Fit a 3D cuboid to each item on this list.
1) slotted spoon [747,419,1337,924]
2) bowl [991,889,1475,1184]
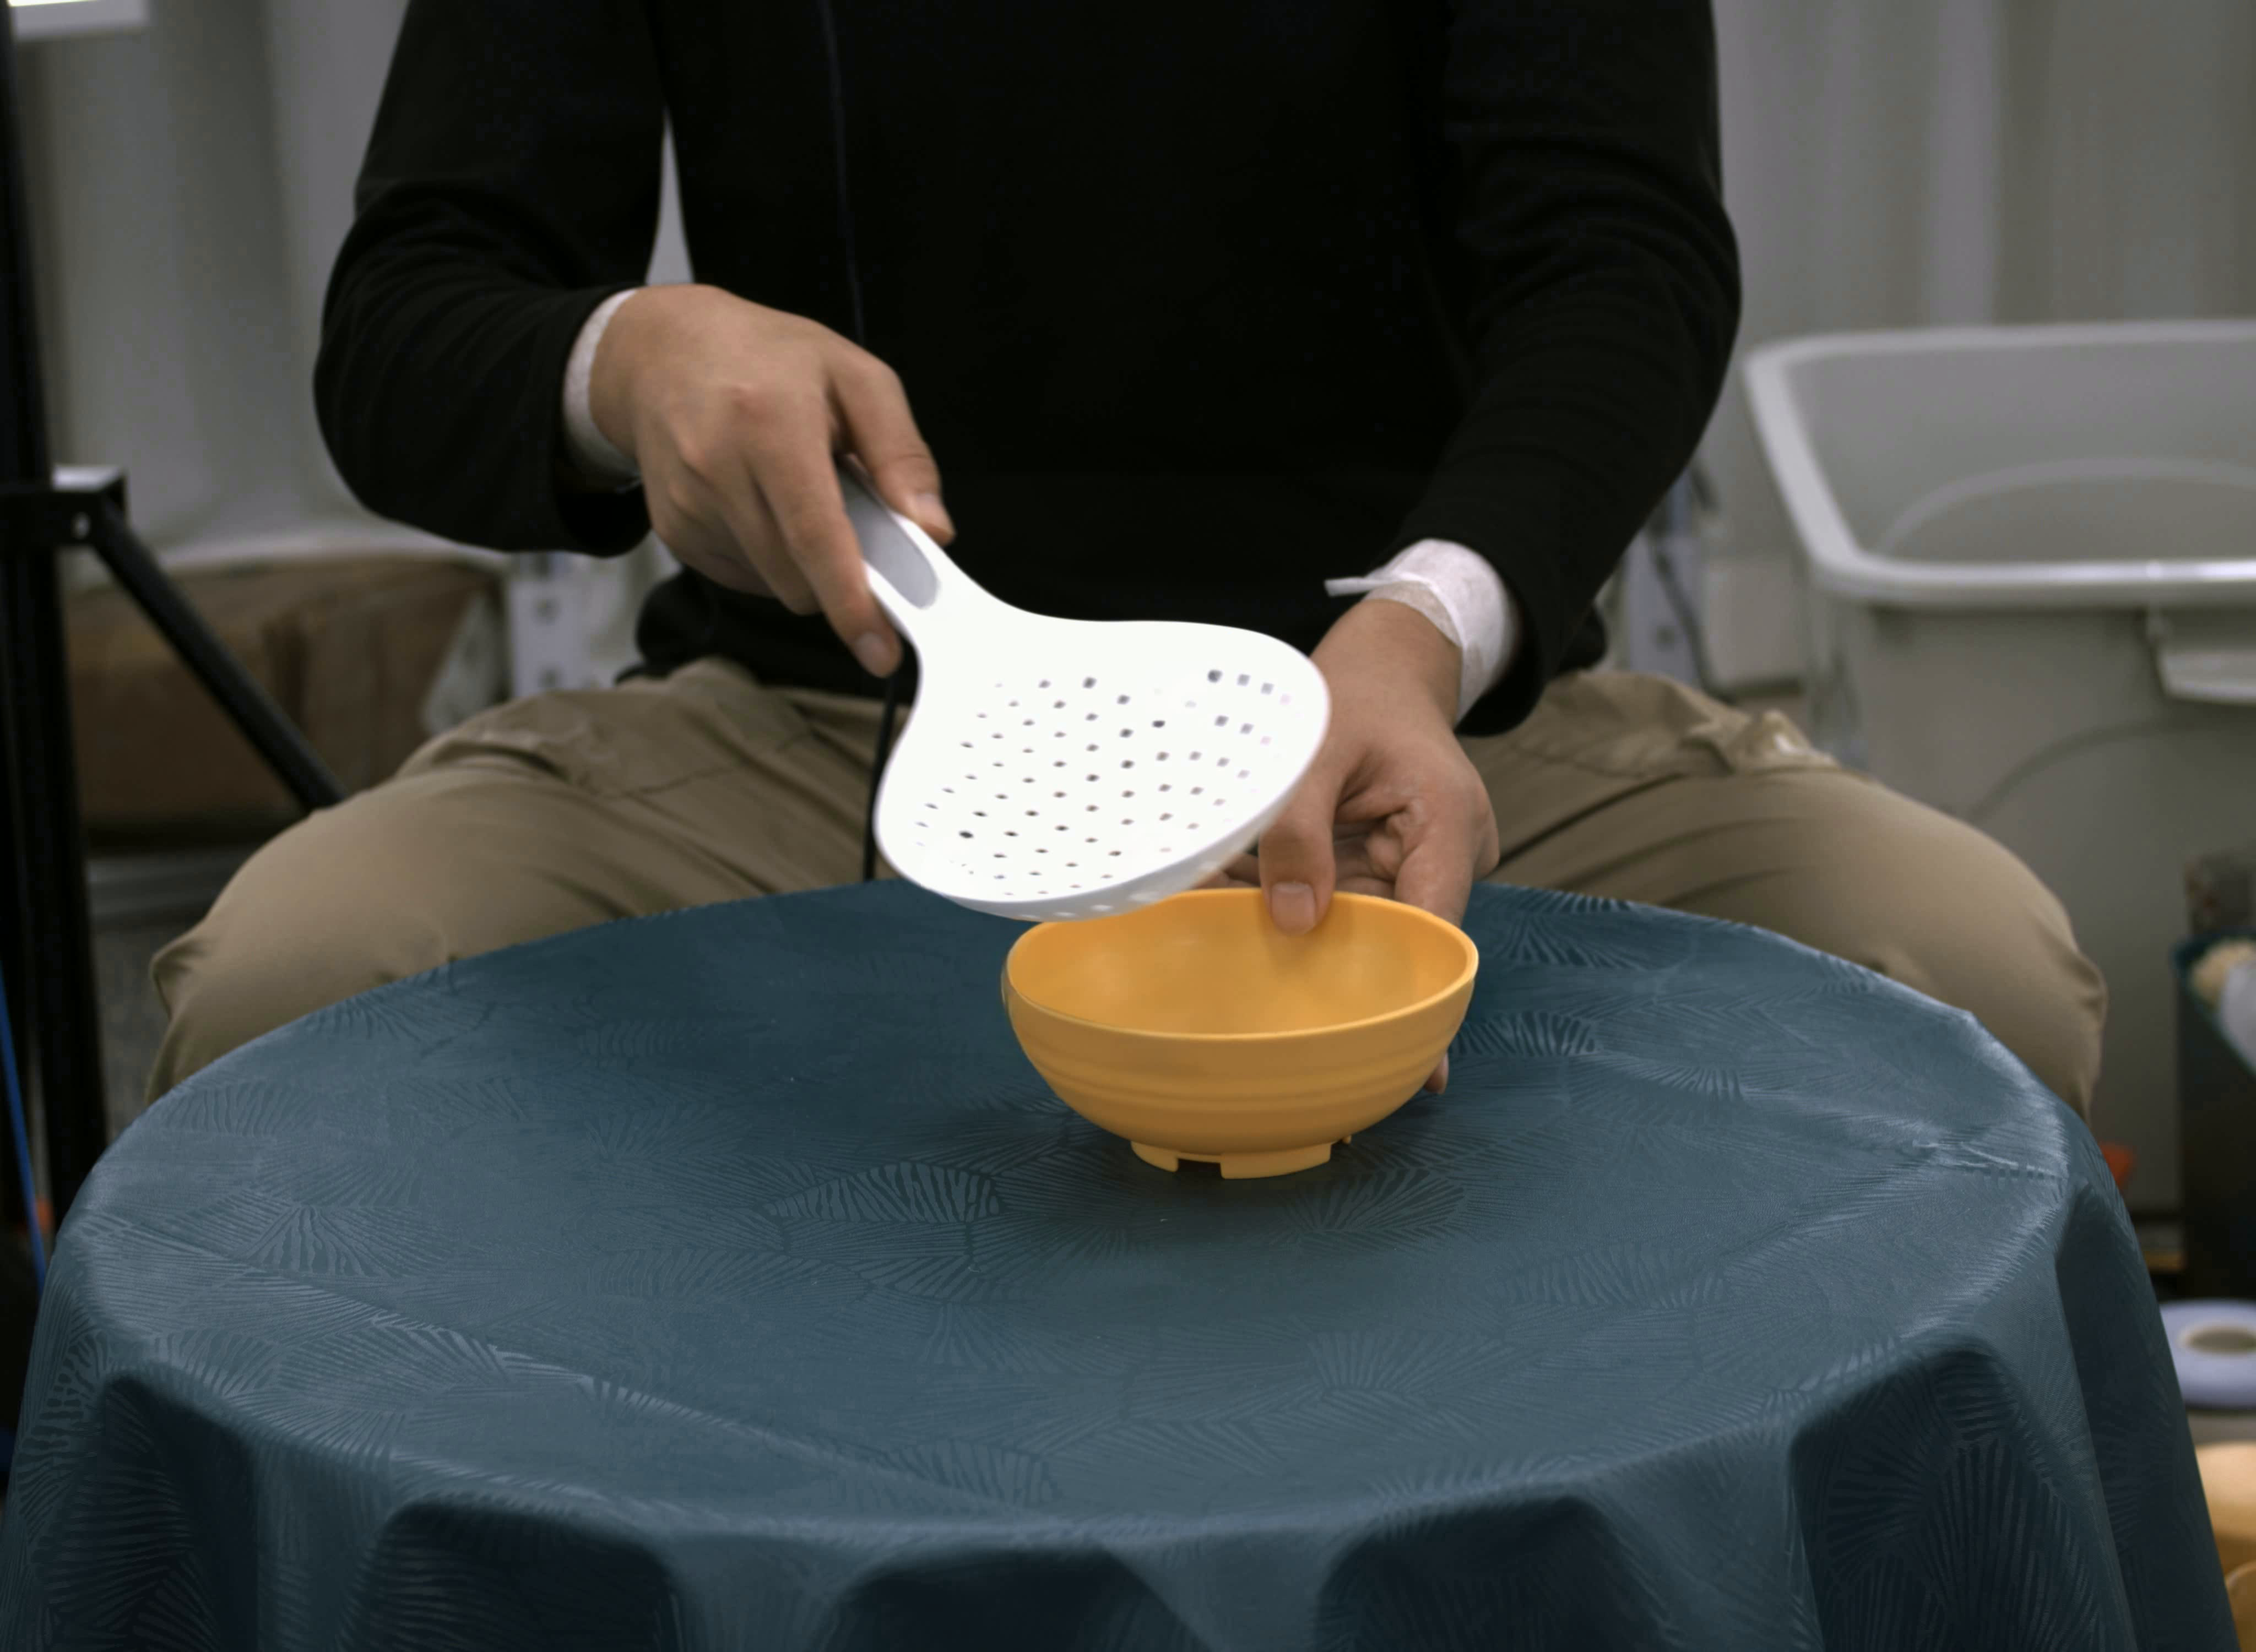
[{"bbox_3d":[-0.046,-0.056,1.638,0.135,0.045,0.357,-28,36,-11],"label":"slotted spoon"},{"bbox_3d":[0.031,0.069,1.588,0.144,0.060,0.146,-1,16,-1],"label":"bowl"}]
